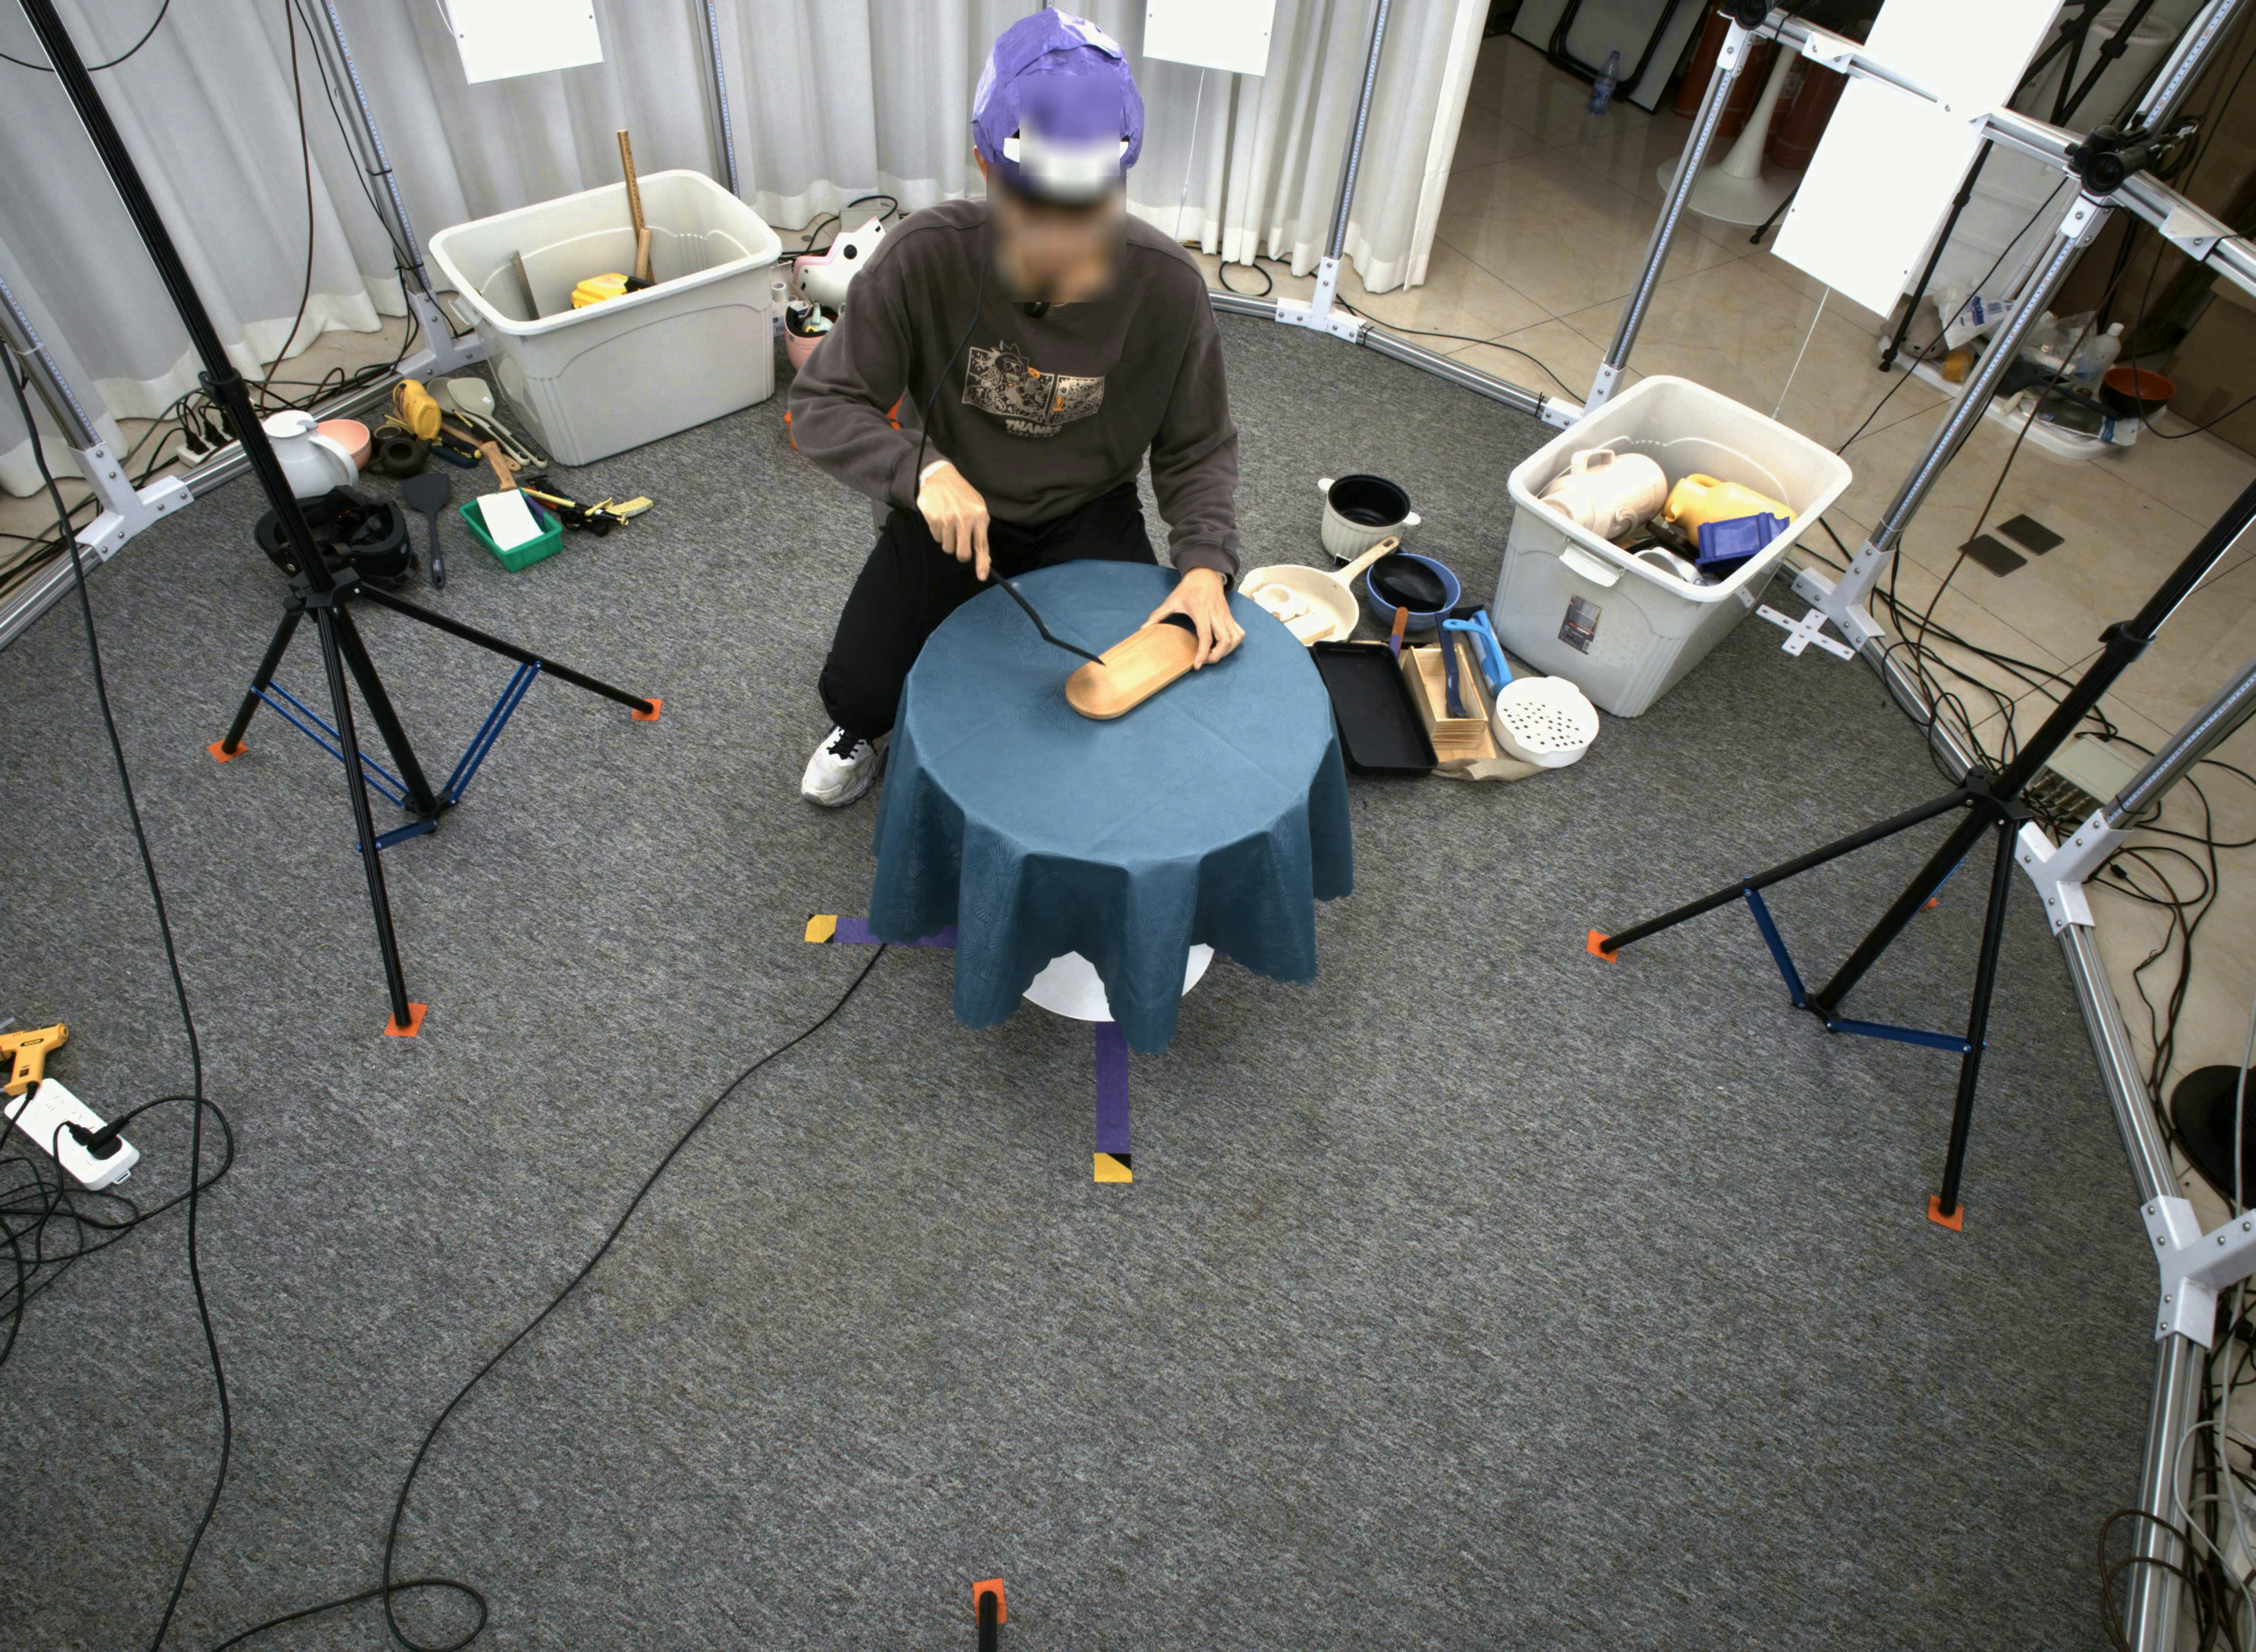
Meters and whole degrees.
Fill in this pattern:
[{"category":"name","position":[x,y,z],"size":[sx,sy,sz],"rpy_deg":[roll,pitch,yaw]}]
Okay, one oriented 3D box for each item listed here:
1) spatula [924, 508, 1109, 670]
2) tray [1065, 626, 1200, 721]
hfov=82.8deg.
[{"category":"spatula","position":[-0.152,-0.321,1.761],"size":[0.040,0.100,0.324],"rpy_deg":[-44,96,1]},{"category":"tray","position":[0.008,-0.221,1.848],"size":[0.233,0.020,0.103],"rpy_deg":[-36,59,-28]}]
